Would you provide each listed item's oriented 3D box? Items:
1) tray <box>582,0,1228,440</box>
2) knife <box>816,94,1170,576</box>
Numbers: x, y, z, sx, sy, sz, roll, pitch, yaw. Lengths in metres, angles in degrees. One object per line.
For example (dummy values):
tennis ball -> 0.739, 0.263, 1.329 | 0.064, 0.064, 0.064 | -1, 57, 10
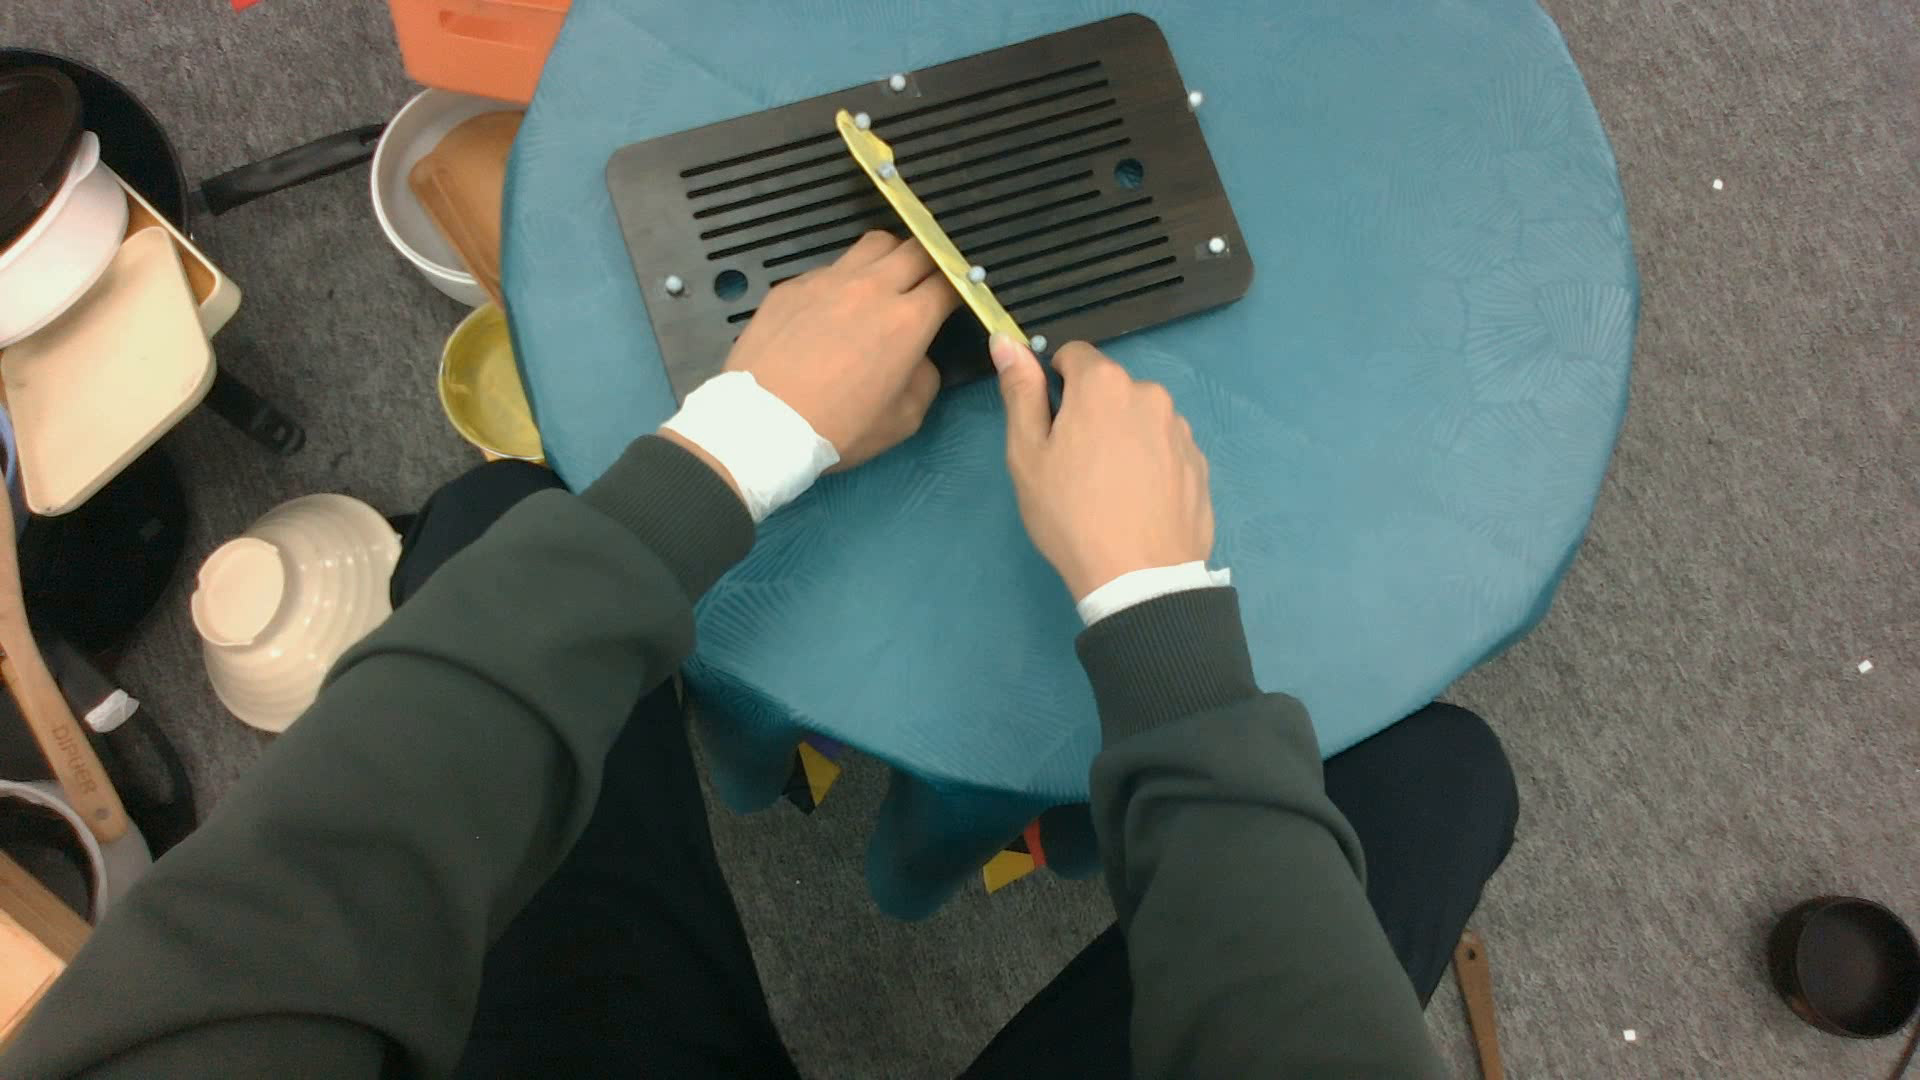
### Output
tray -> -0.026, -0.169, 0.715 | 0.306, 0.018, 0.170 | -18, 80, -9
knife -> 0.012, -0.104, 0.660 | 0.027, 0.081, 0.289 | -38, 80, 17
